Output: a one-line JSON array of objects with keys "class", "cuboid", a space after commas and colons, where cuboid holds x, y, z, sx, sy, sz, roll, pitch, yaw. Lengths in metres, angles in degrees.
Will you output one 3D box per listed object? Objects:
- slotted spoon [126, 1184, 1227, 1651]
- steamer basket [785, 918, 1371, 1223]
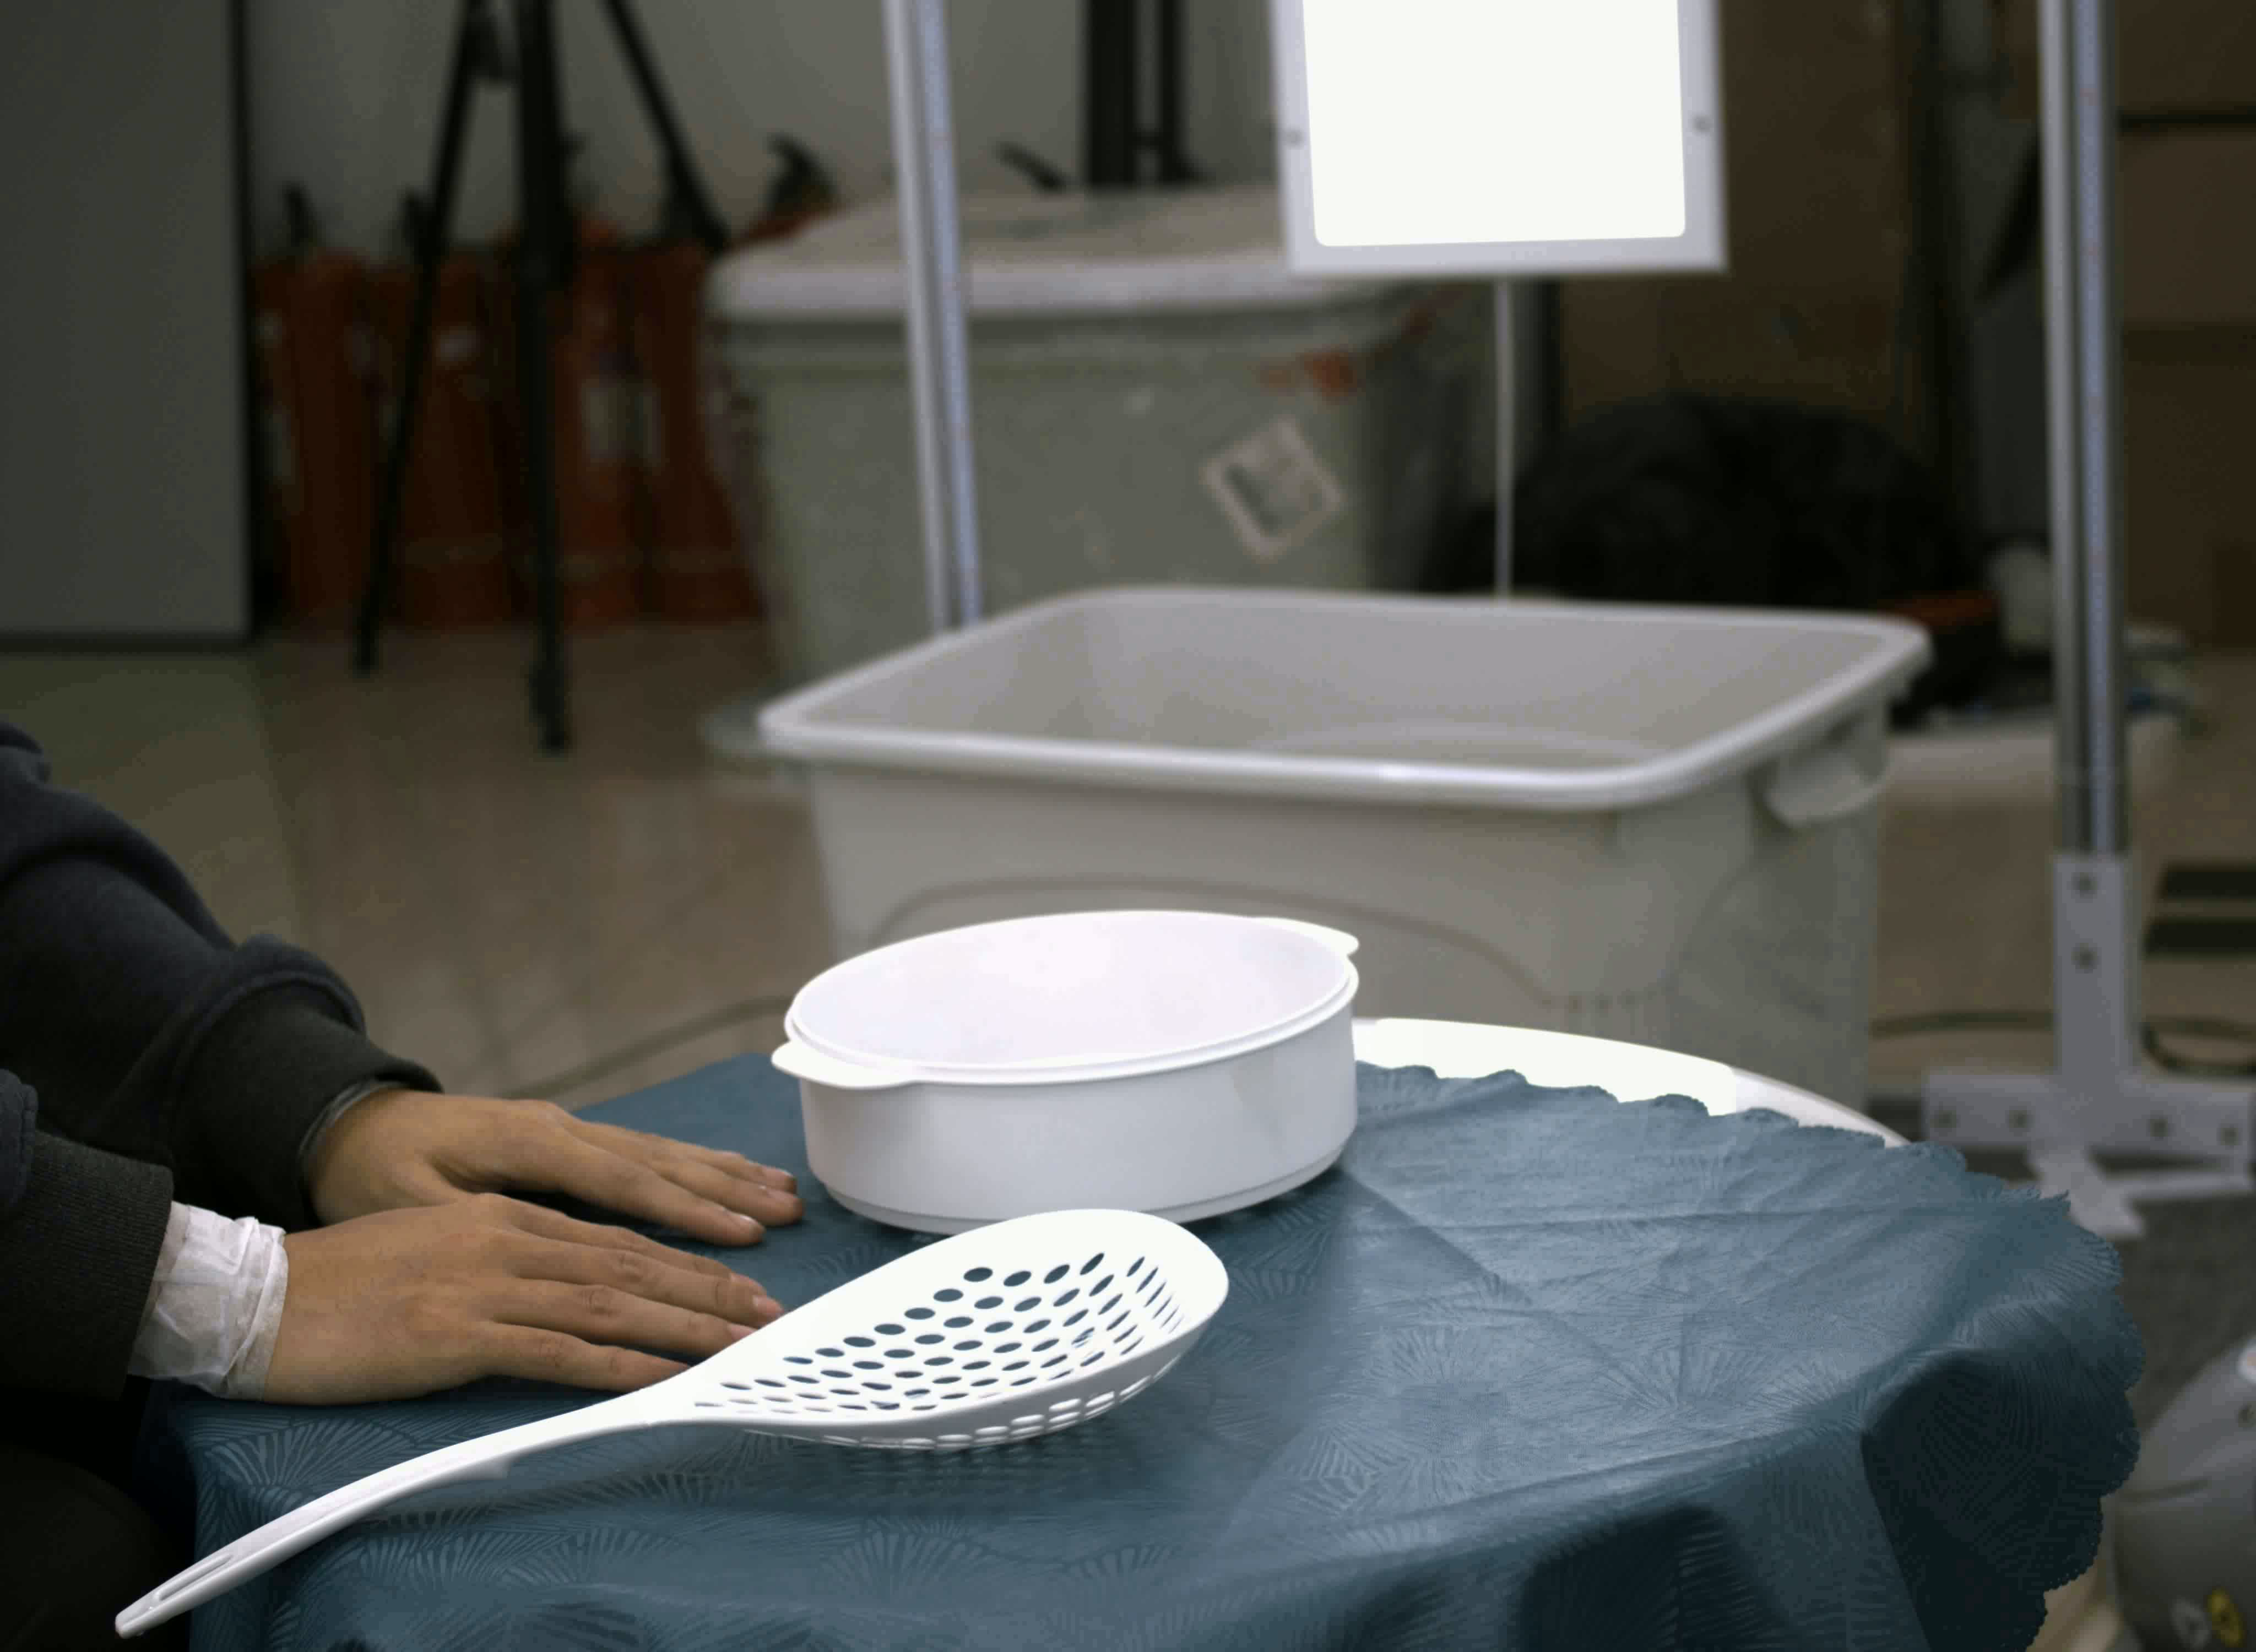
[{"class": "slotted spoon", "cuboid": [-0.136, 0.184, 1.659, 0.344, 0.050, 0.138, -13, 20, -11]}, {"class": "steamer basket", "cuboid": [-0.013, 0.087, 1.924, 0.225, 0.069, 0.206, -12, 15, -35]}]
